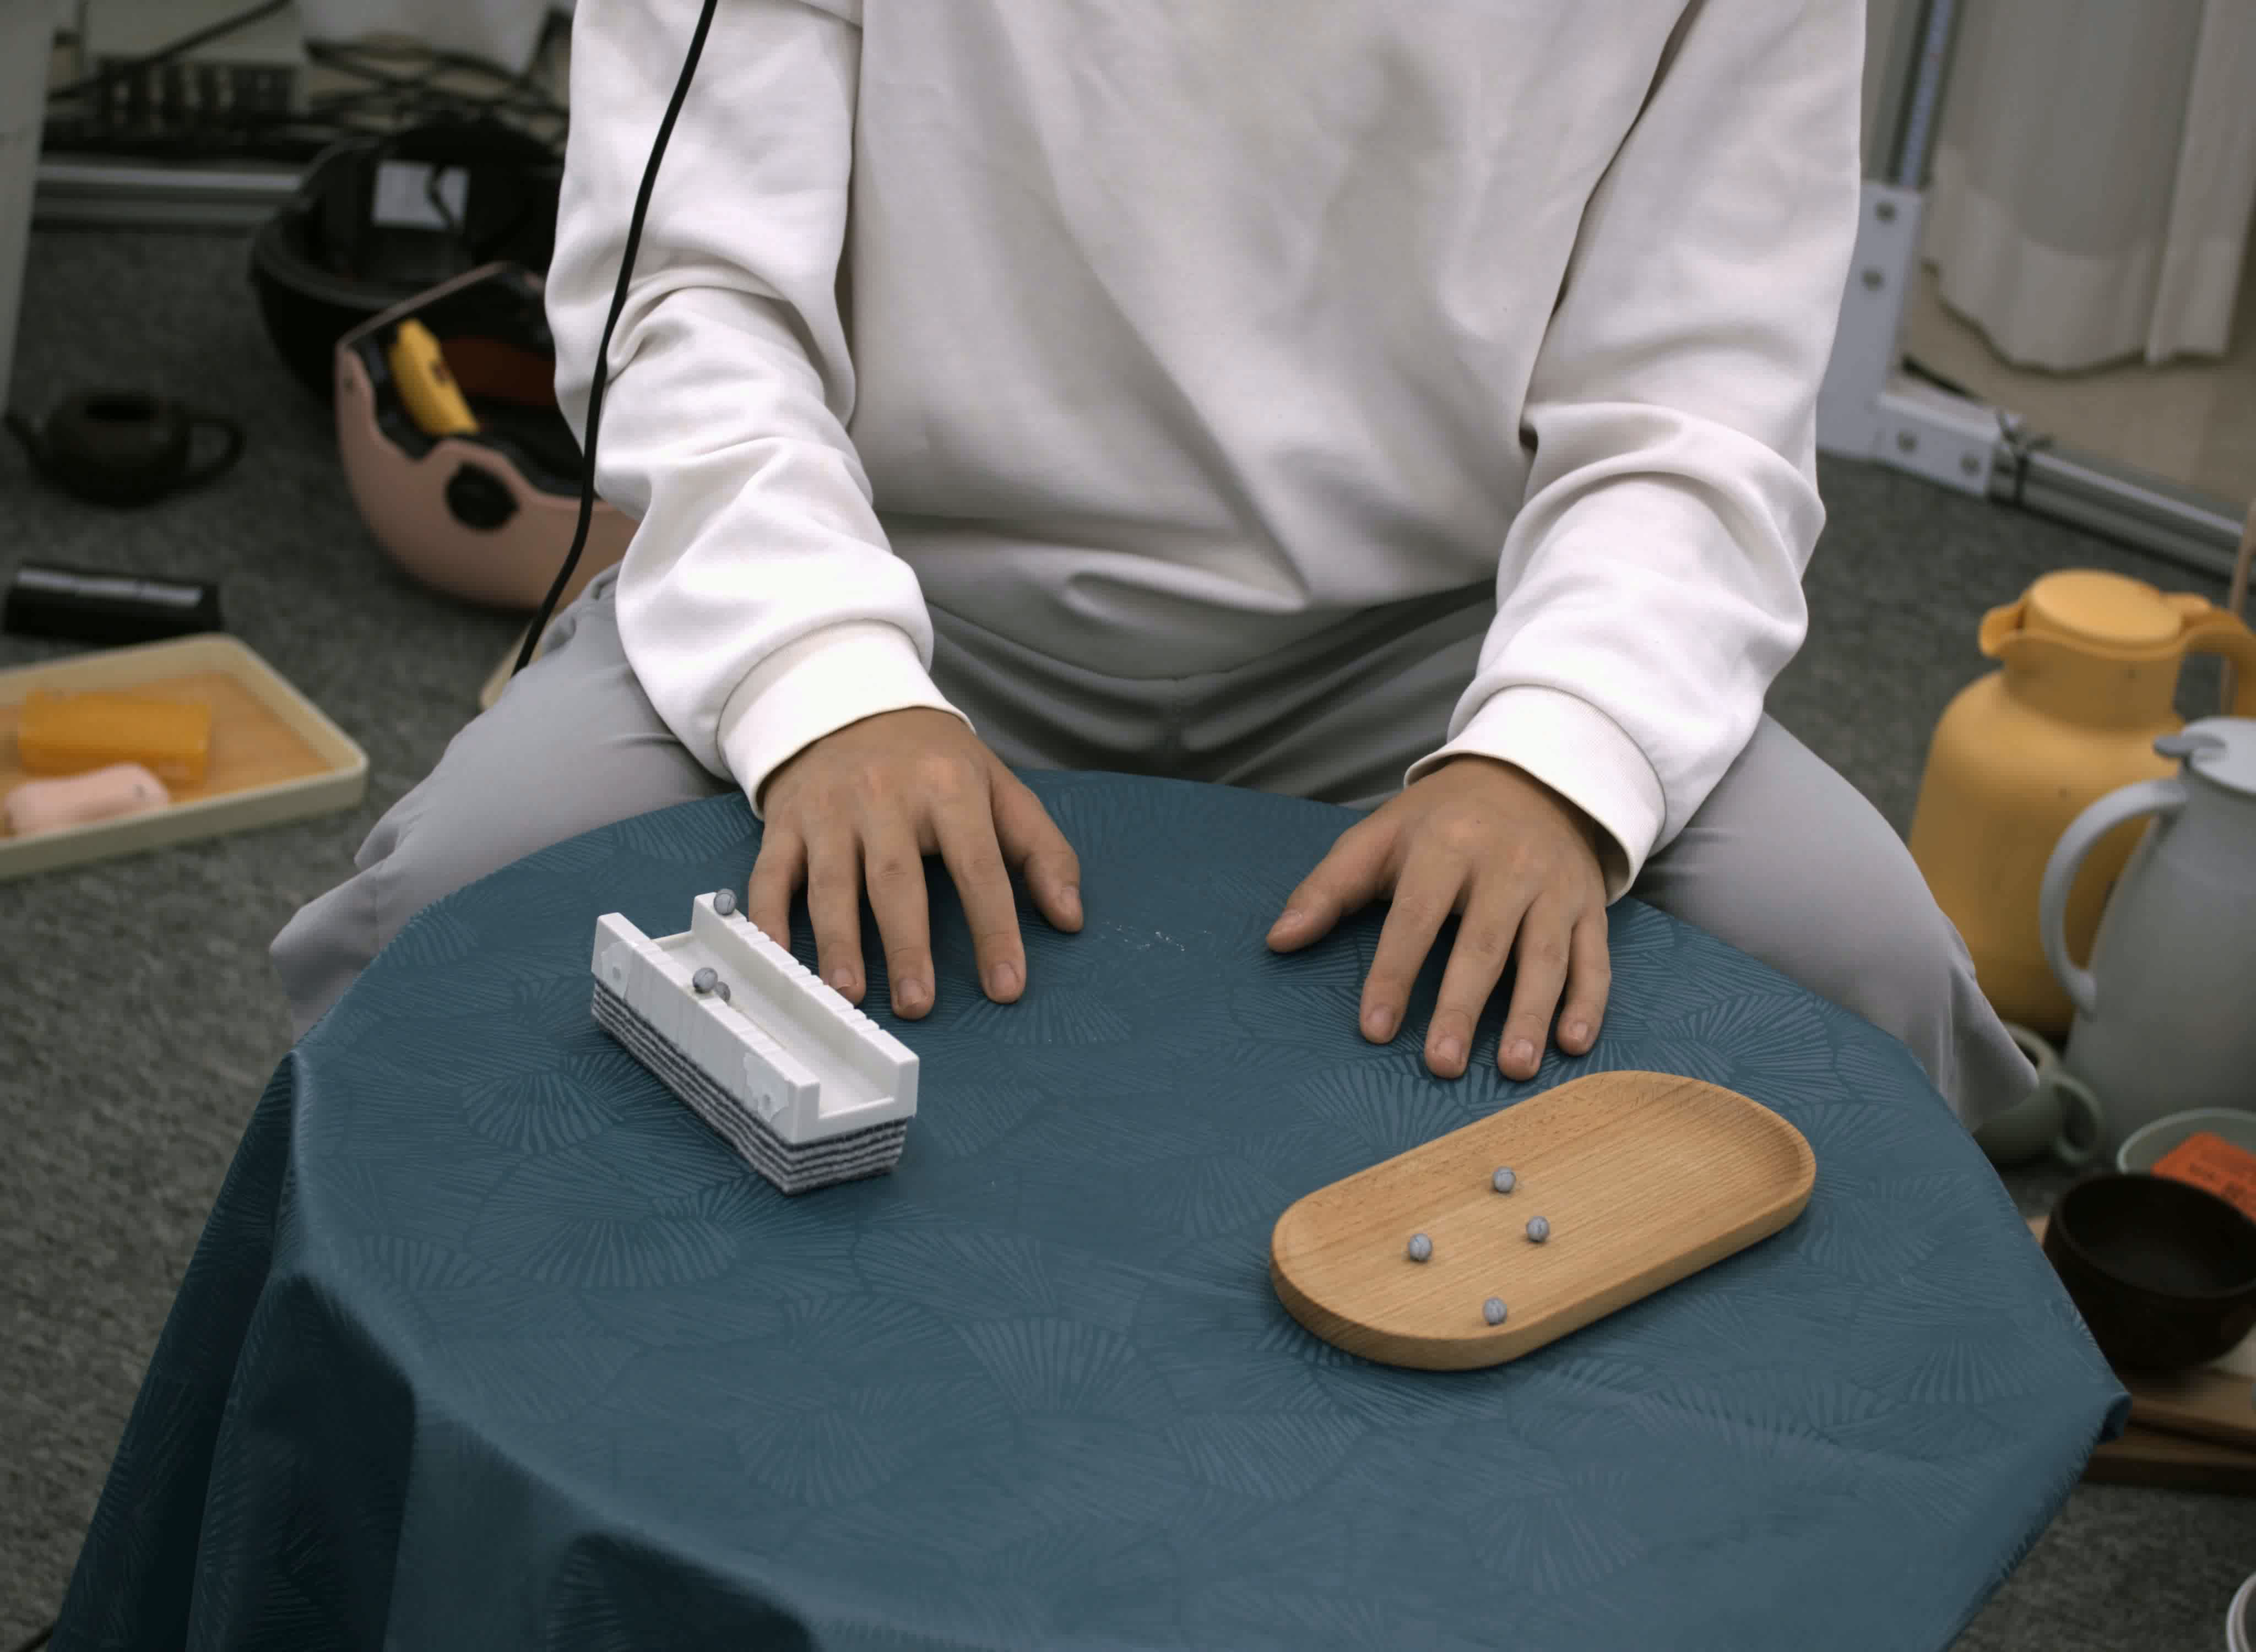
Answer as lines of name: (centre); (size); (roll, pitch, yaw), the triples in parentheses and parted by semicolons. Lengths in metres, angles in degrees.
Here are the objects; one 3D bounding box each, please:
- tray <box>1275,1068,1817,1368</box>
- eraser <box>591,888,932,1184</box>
tray: (0.143, 0.132, 1.806); (0.102, 0.020, 0.230); (29, 33, 35)
eraser: (-0.128, 0.072, 1.825); (0.049, 0.046, 0.135); (-9, 30, -39)
